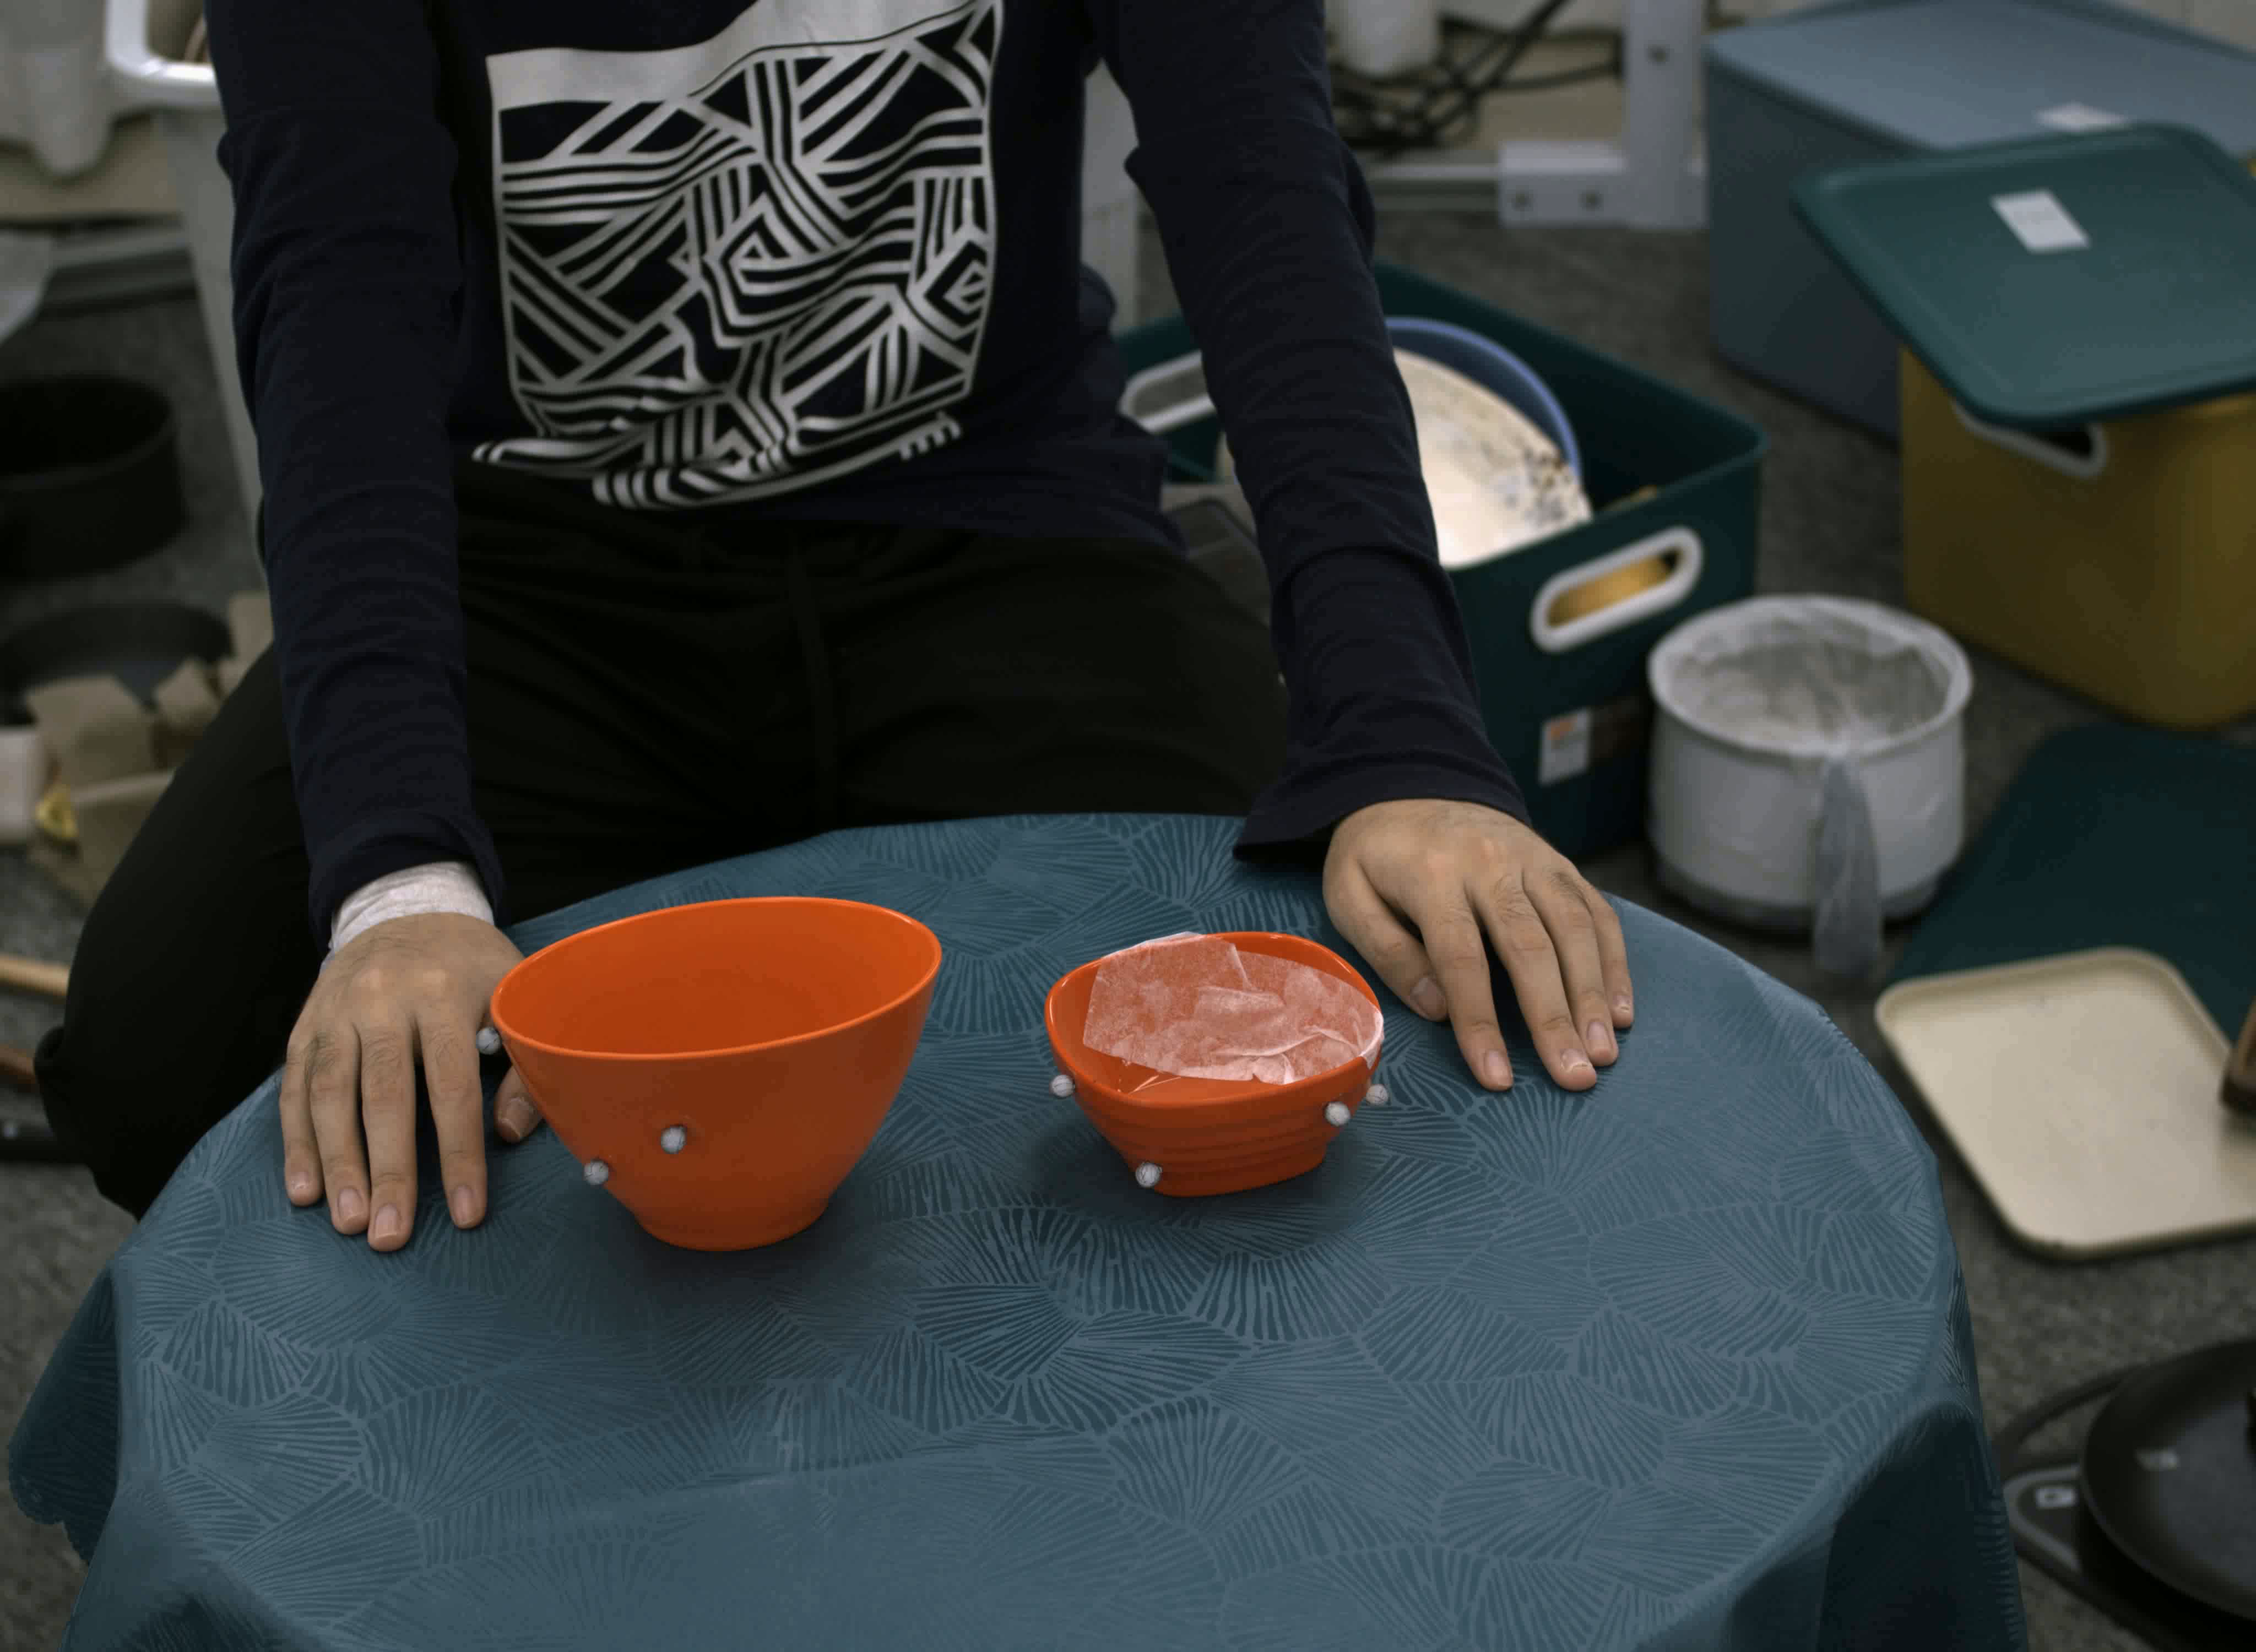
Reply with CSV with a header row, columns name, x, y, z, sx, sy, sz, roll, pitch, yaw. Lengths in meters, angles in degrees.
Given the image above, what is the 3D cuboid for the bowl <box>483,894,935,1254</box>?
name,x,y,z,sx,sy,sz,roll,pitch,yaw
bowl,-0.133,0.085,1.837,0.147,0.103,0.150,-3,27,2

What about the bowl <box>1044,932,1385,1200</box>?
name,x,y,z,sx,sy,sz,roll,pitch,yaw
bowl,0.030,0.084,1.878,0.118,0.051,0.120,-4,26,2
